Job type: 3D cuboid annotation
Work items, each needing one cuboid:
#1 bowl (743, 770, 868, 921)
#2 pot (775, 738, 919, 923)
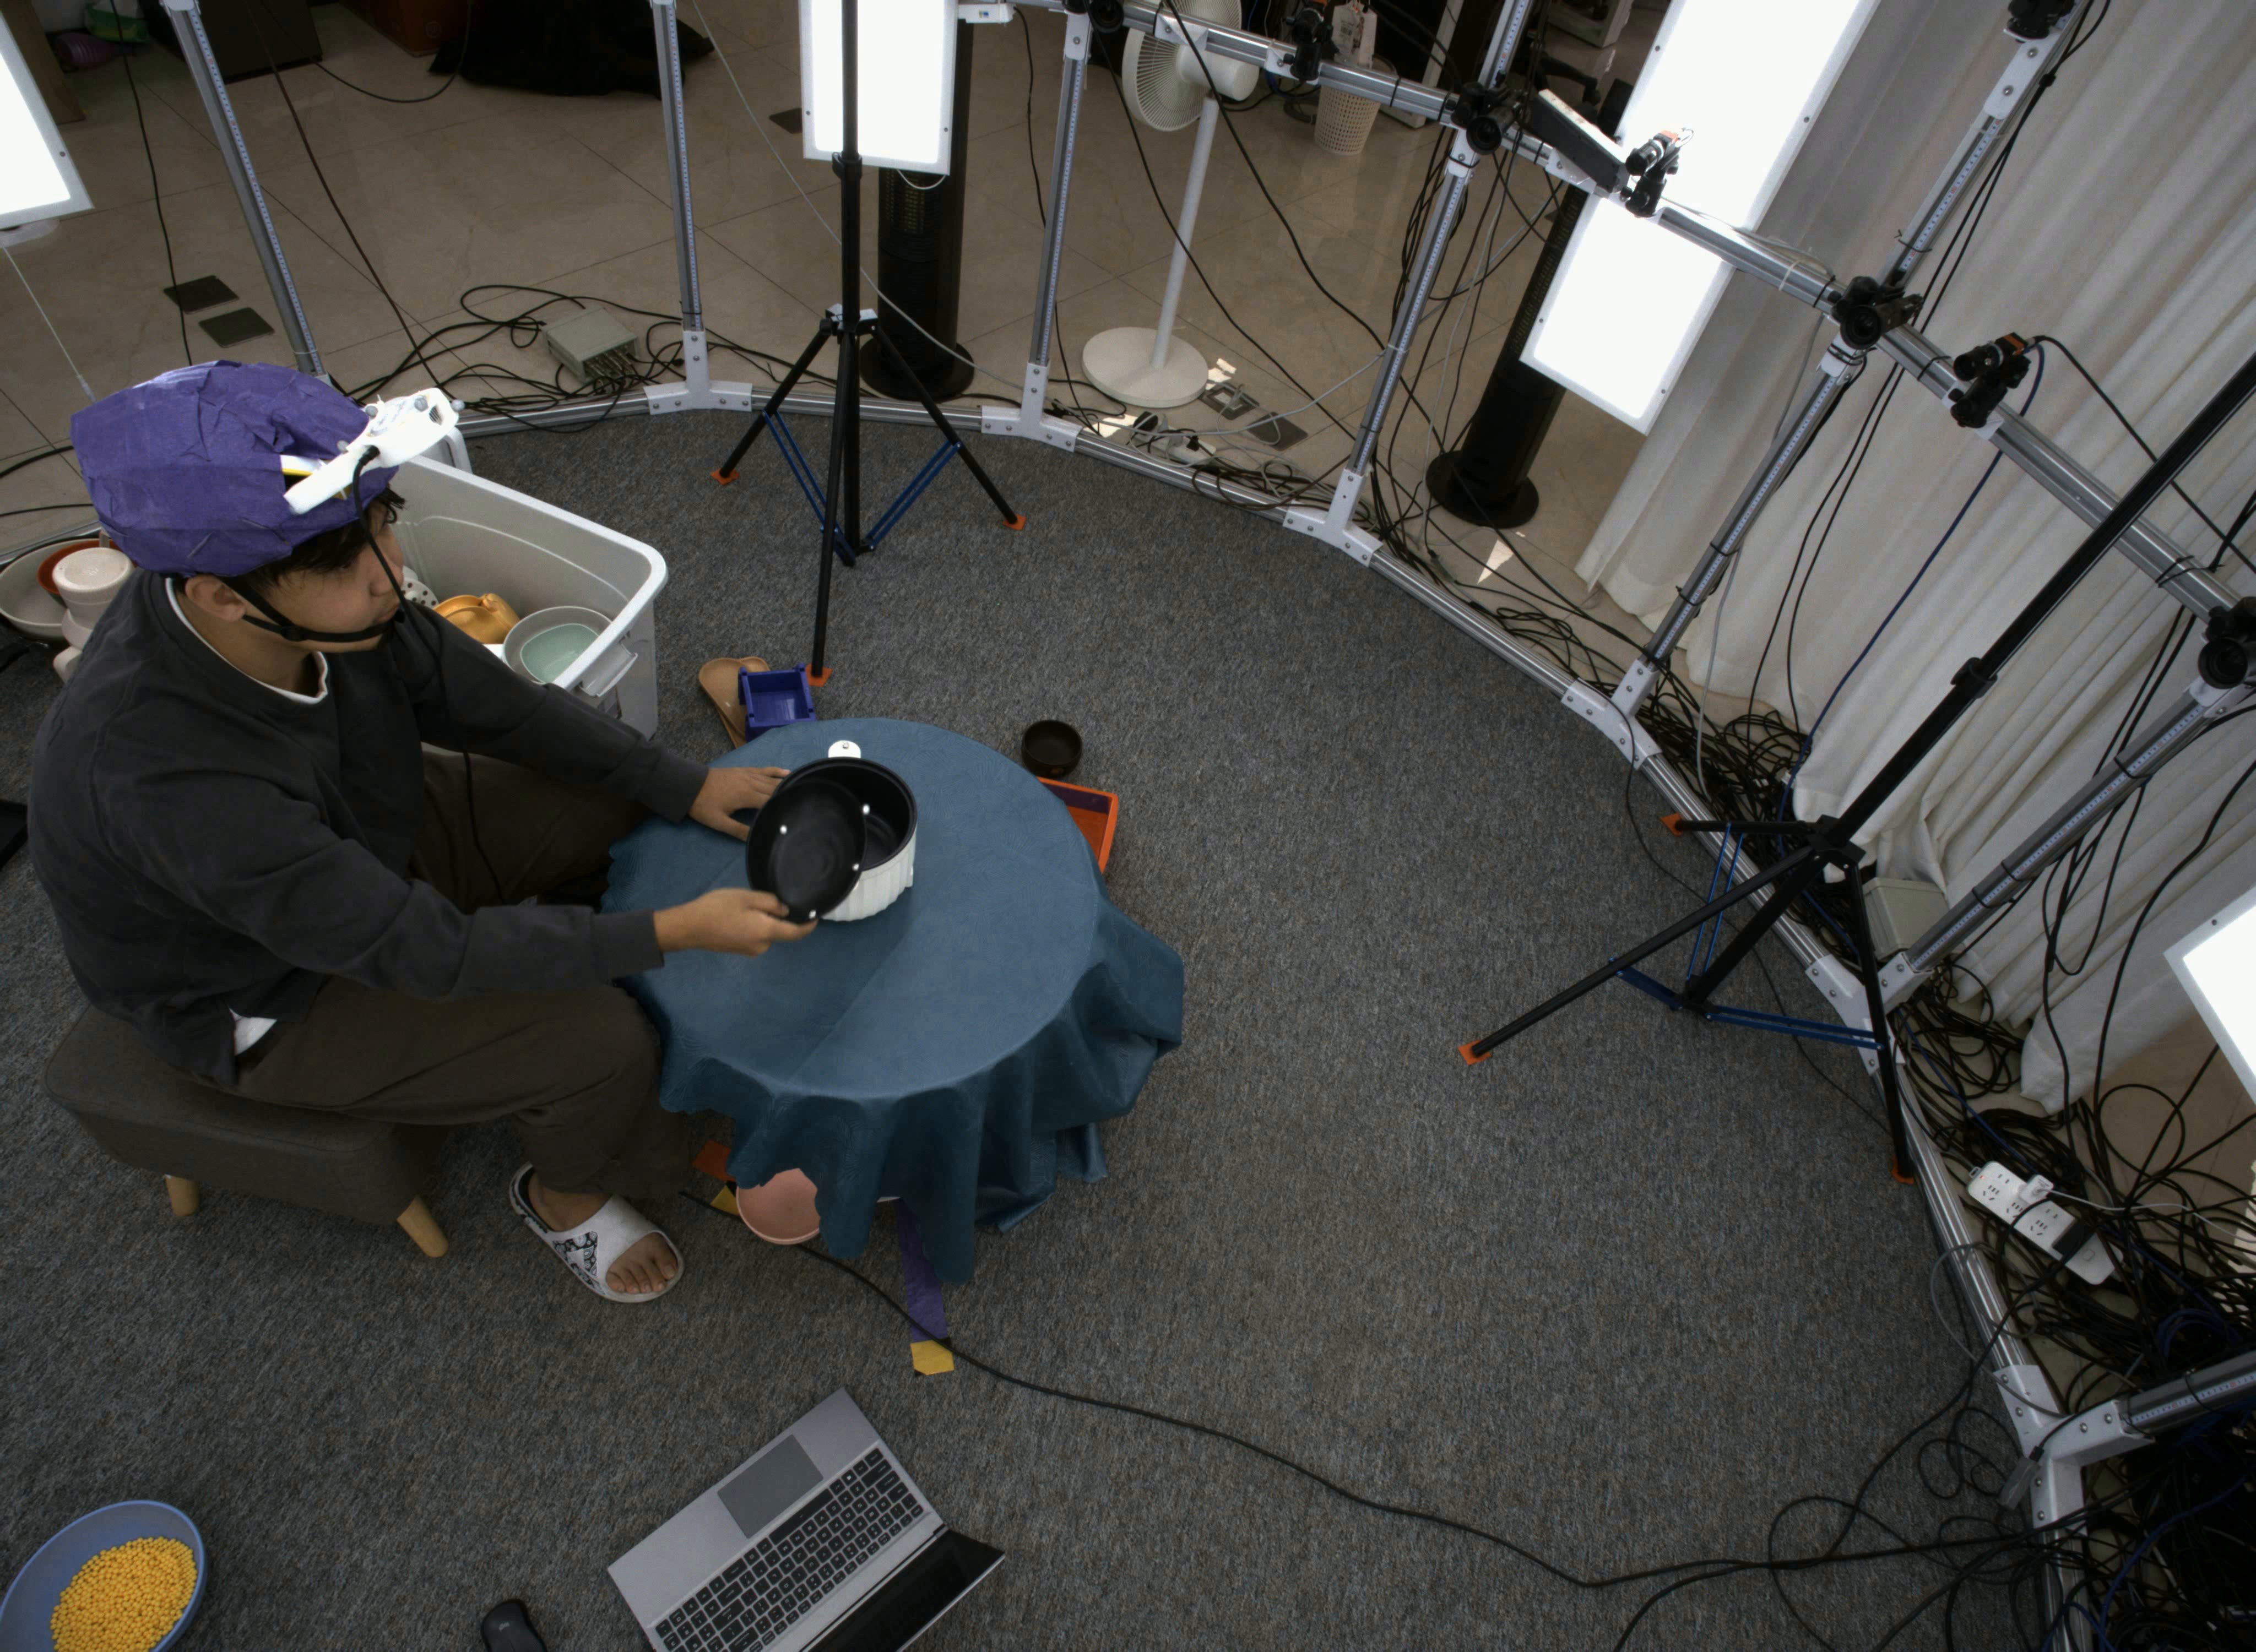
[{"bbox_3d":[-0.356,0.026,1.457,0.135,0.067,0.170,9,75,2],"label":"bowl"},{"bbox_3d":[-0.361,0.024,1.629,0.191,0.145,0.235,2,52,-15],"label":"pot"}]
